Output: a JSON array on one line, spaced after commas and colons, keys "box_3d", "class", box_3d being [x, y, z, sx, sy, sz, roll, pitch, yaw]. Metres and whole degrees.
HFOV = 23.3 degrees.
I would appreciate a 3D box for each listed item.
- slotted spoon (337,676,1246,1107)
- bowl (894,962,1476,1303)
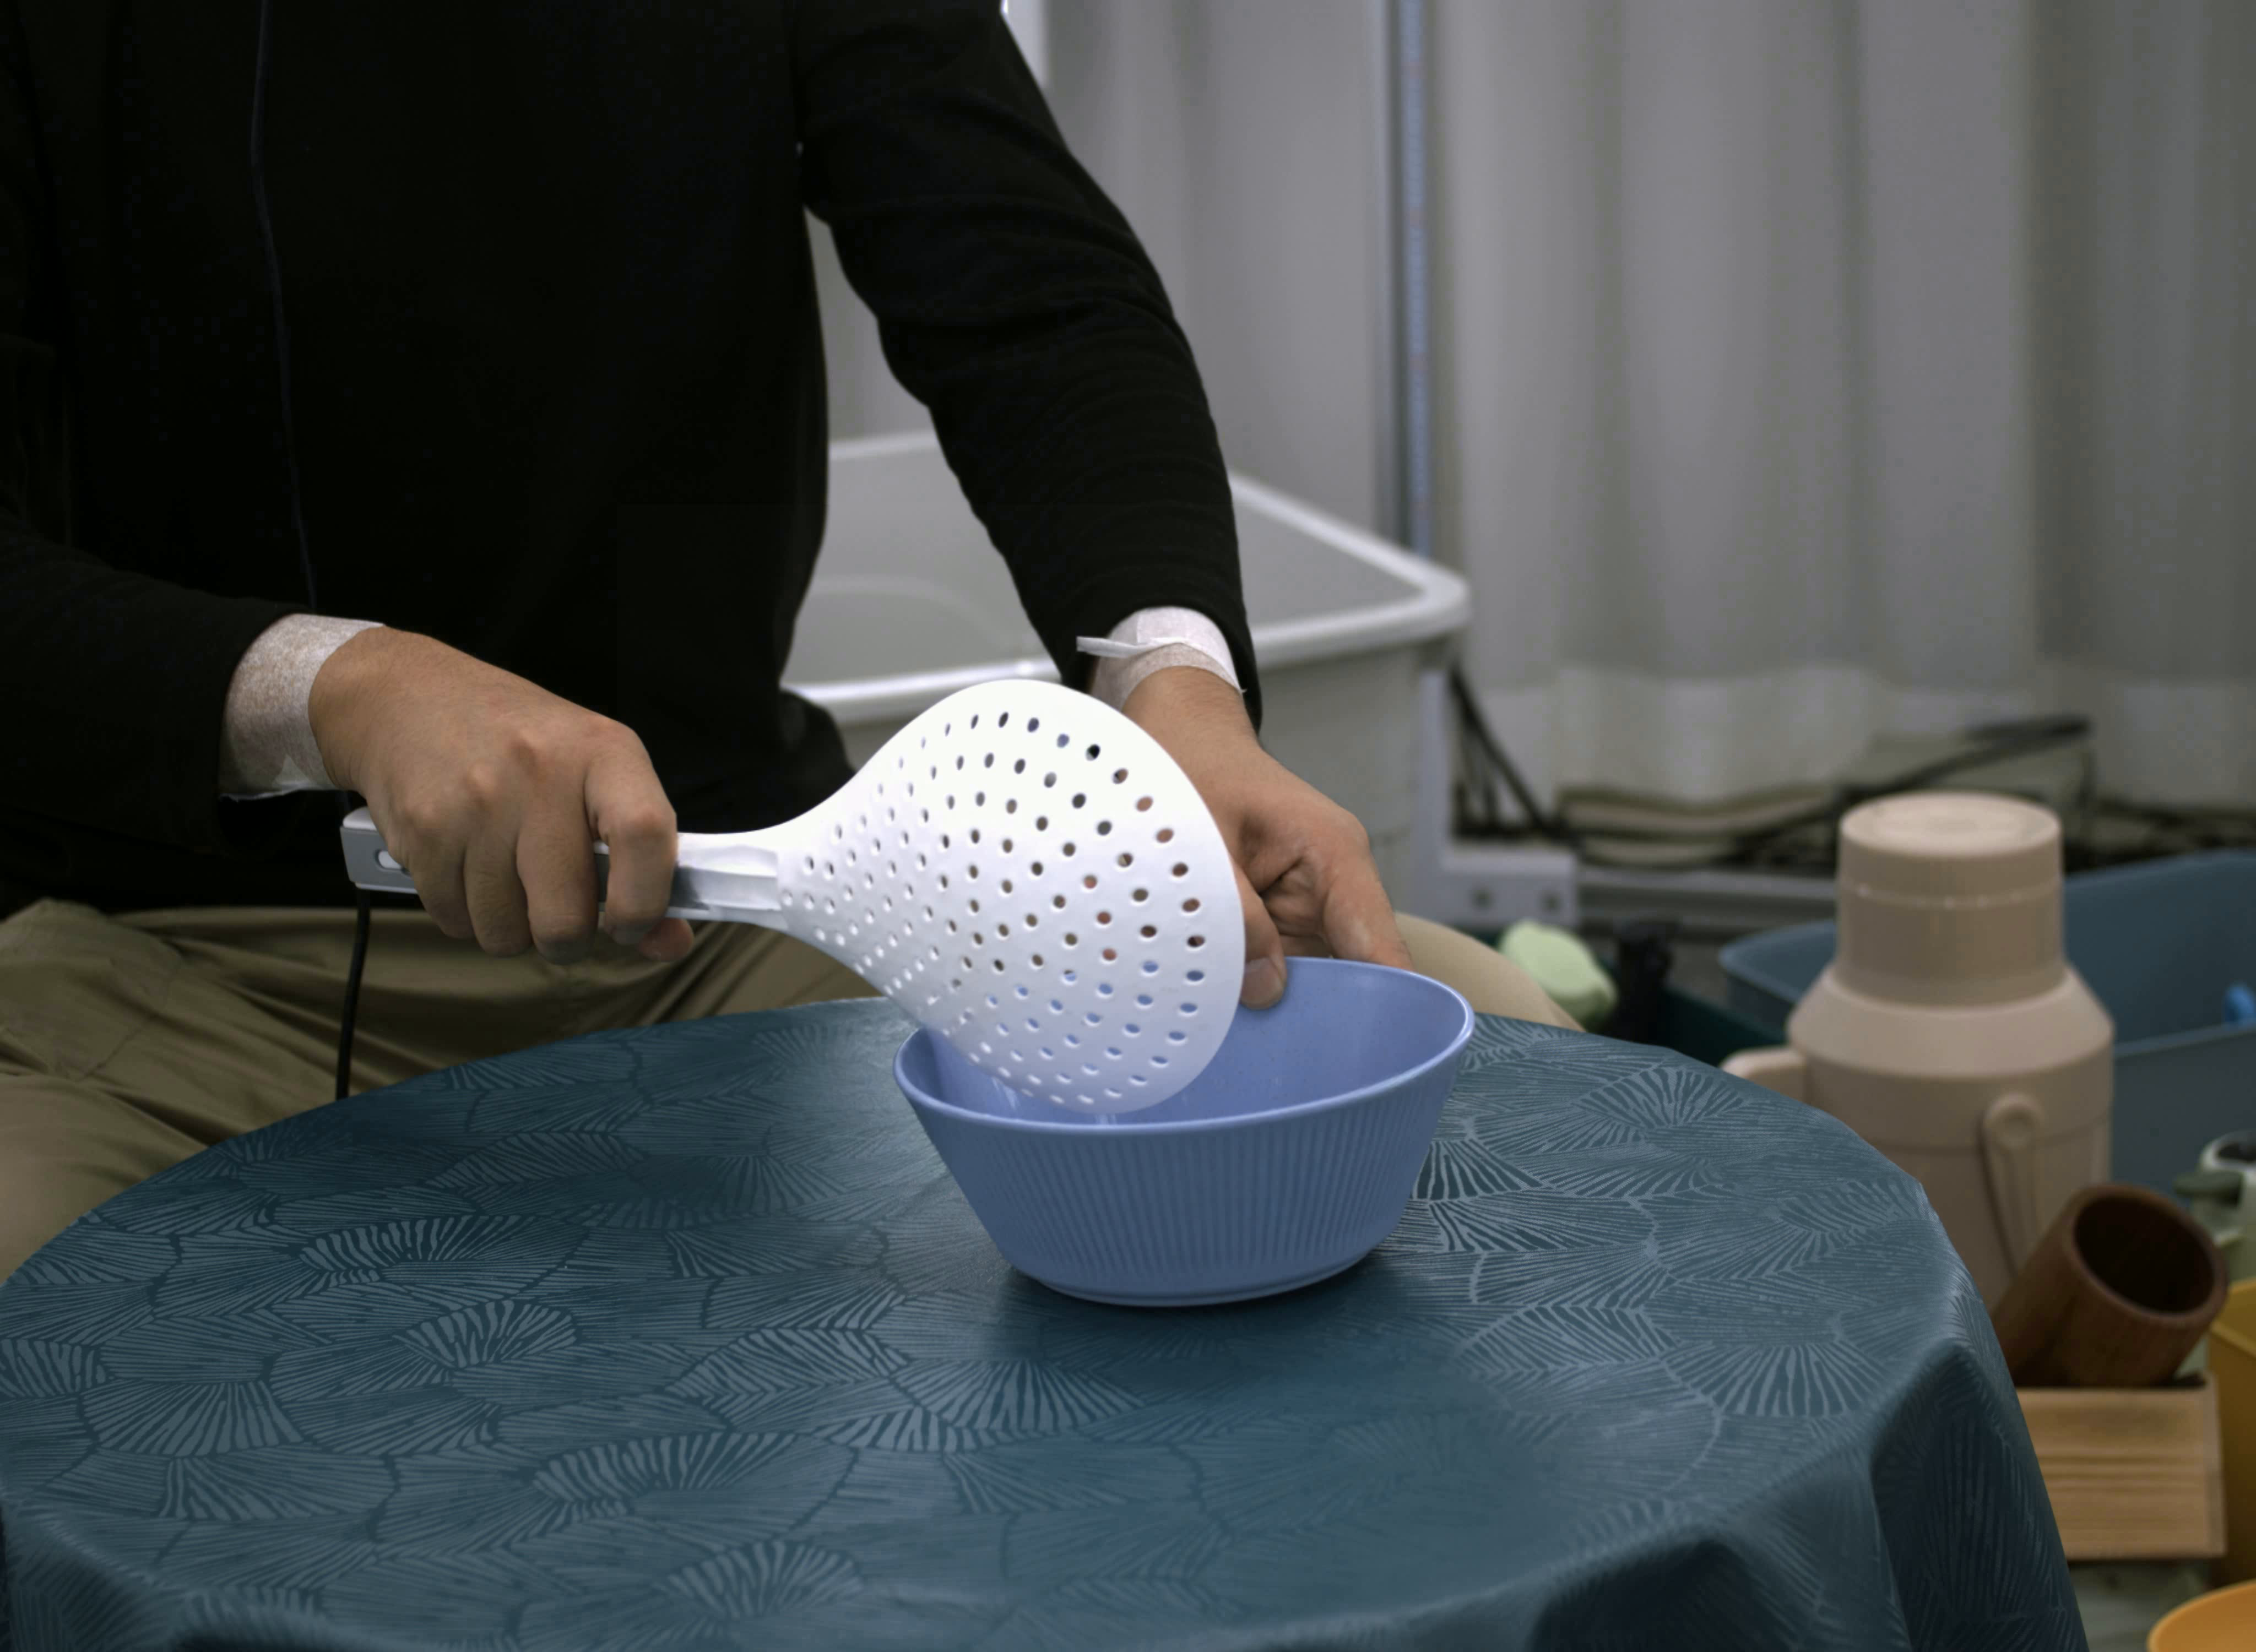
[{"box_3d": [-0.113, 0.016, 1.685, 0.351, 0.135, 0.046, 6, 19, 41], "class": "slotted spoon"}, {"box_3d": [0.020, 0.094, 1.647, 0.175, 0.070, 0.177, -5, 13, 1], "class": "bowl"}]
